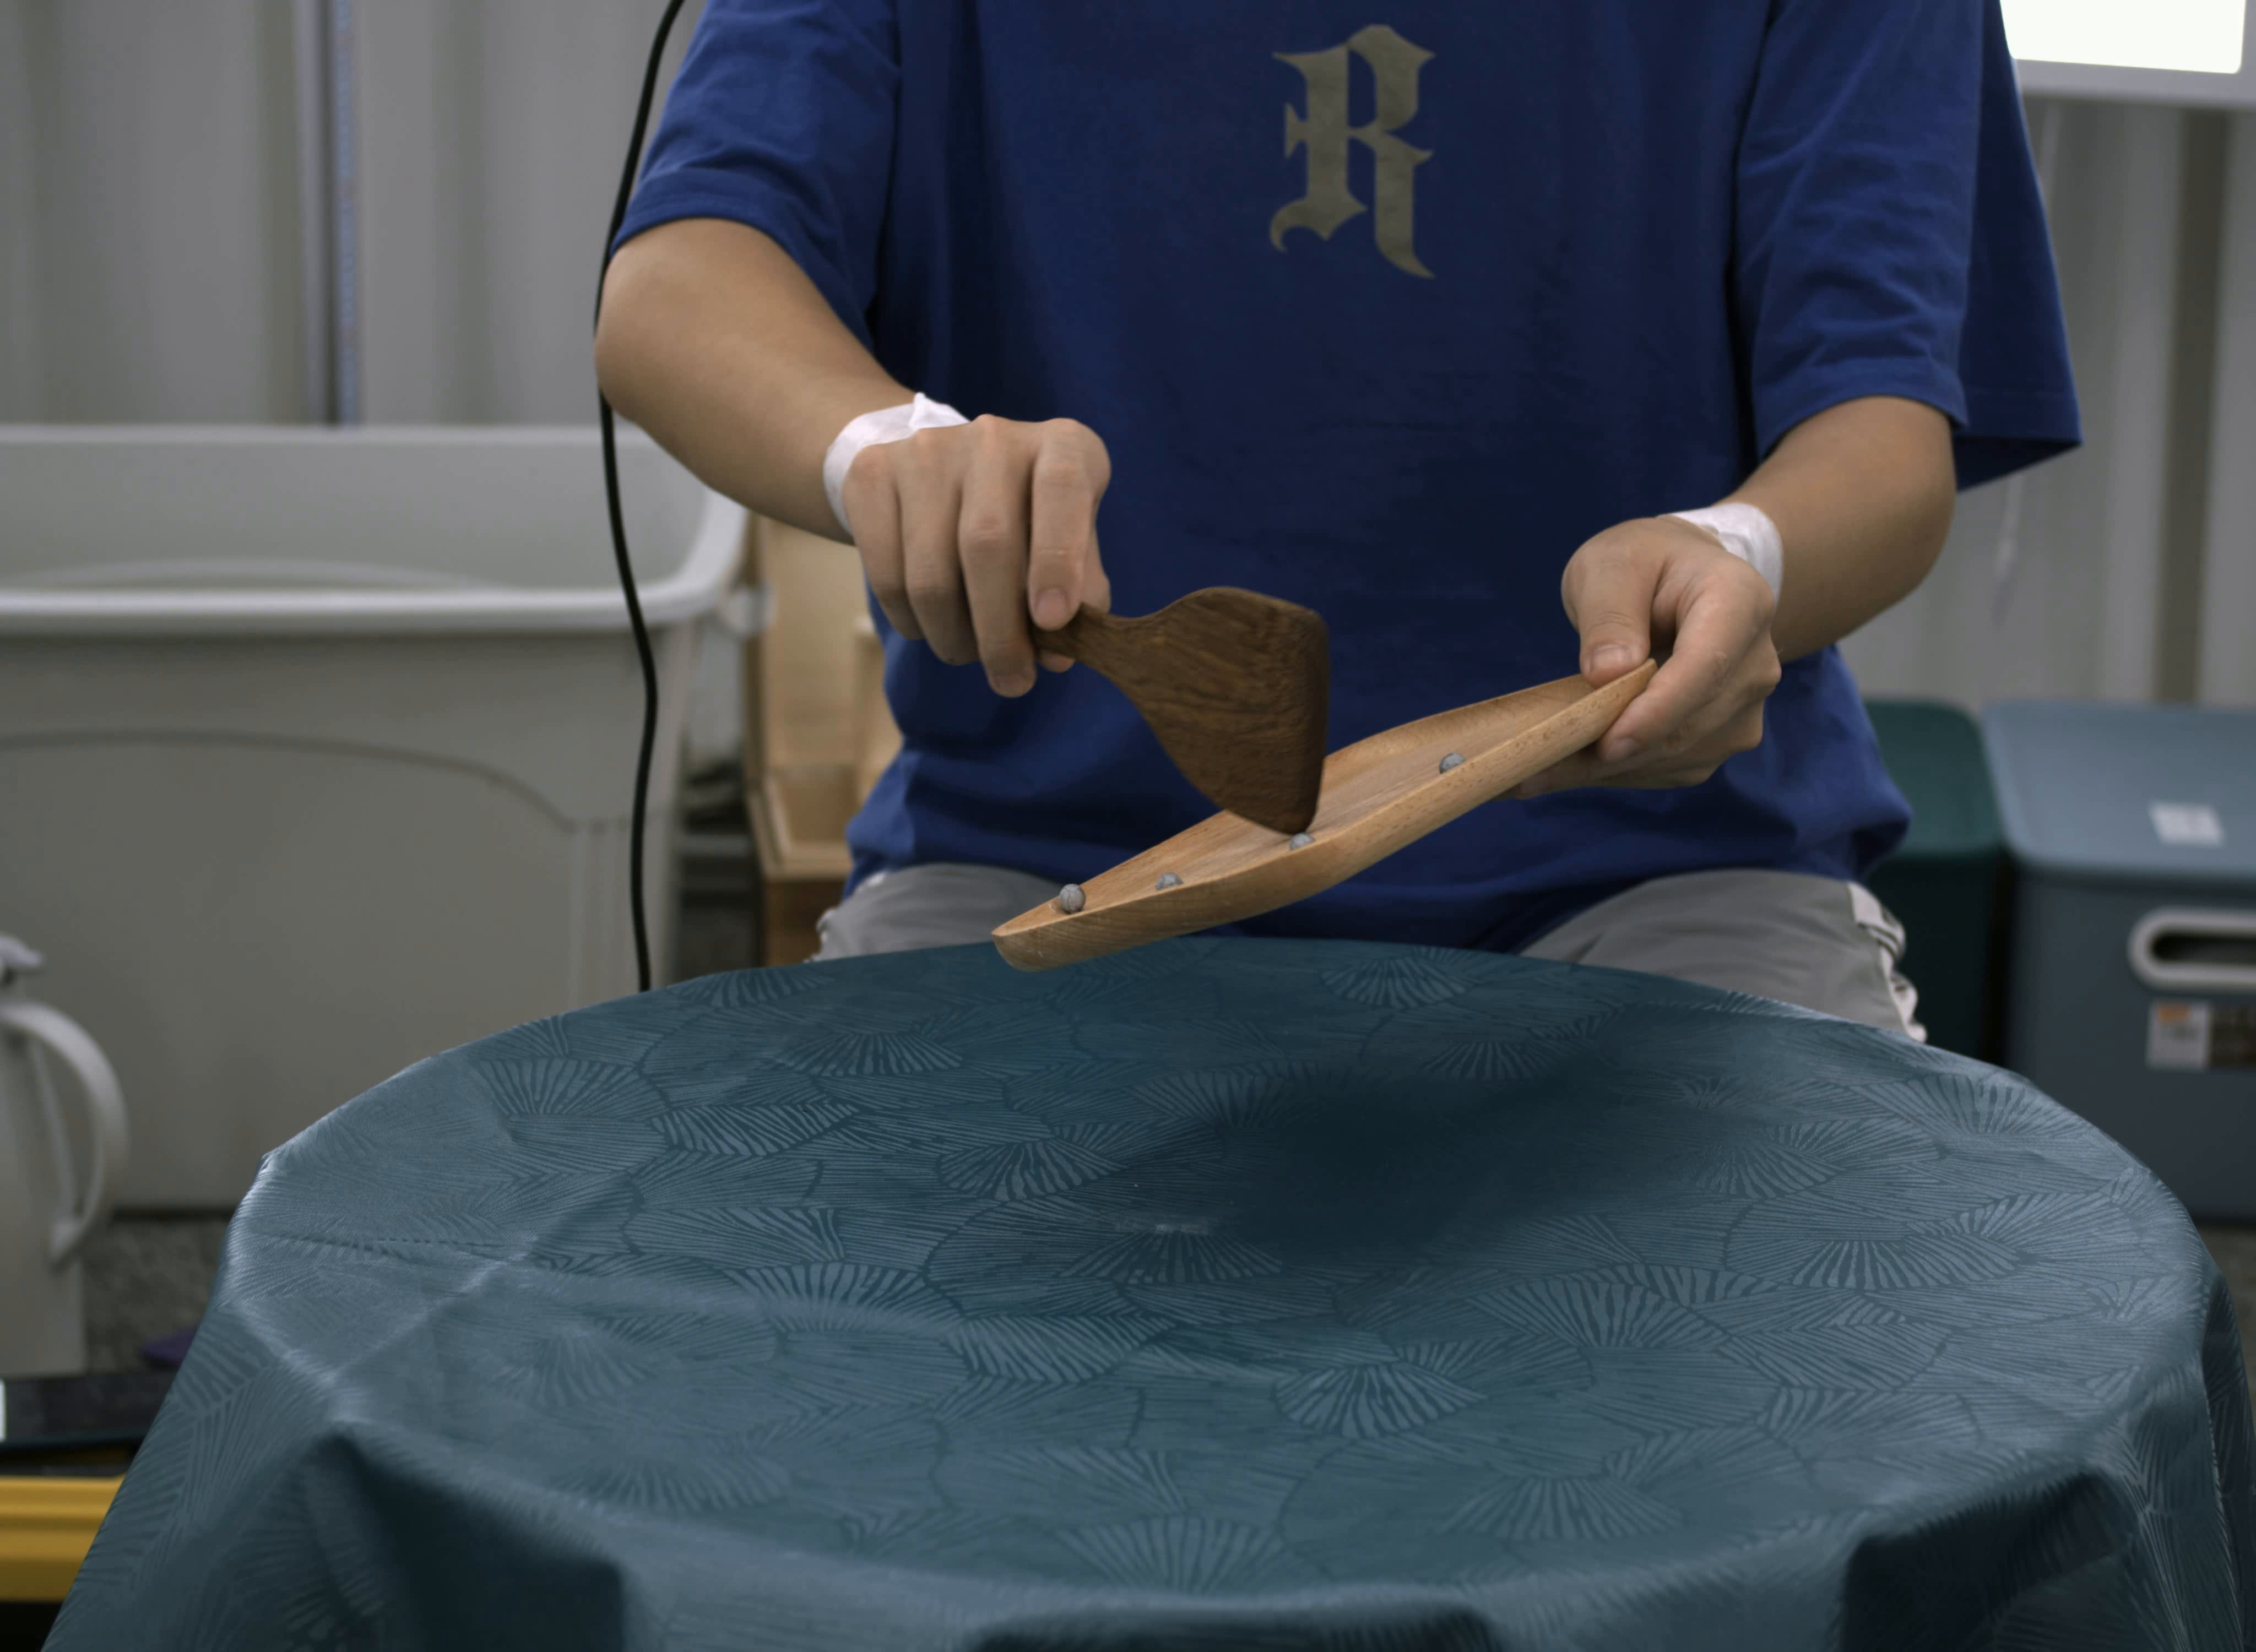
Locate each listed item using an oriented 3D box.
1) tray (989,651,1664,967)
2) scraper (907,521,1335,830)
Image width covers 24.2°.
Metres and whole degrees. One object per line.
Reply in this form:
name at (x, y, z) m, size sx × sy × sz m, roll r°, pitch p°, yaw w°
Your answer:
tray at (0.066, -0.006, 1.633) m, size 0.129 × 0.023 × 0.251 m, roll -12°, pitch 8°, yaw 37°
scraper at (-0.007, -0.059, 1.658) m, size 0.011 × 0.076 × 0.208 m, roll -13°, pitch 24°, yaw -37°
